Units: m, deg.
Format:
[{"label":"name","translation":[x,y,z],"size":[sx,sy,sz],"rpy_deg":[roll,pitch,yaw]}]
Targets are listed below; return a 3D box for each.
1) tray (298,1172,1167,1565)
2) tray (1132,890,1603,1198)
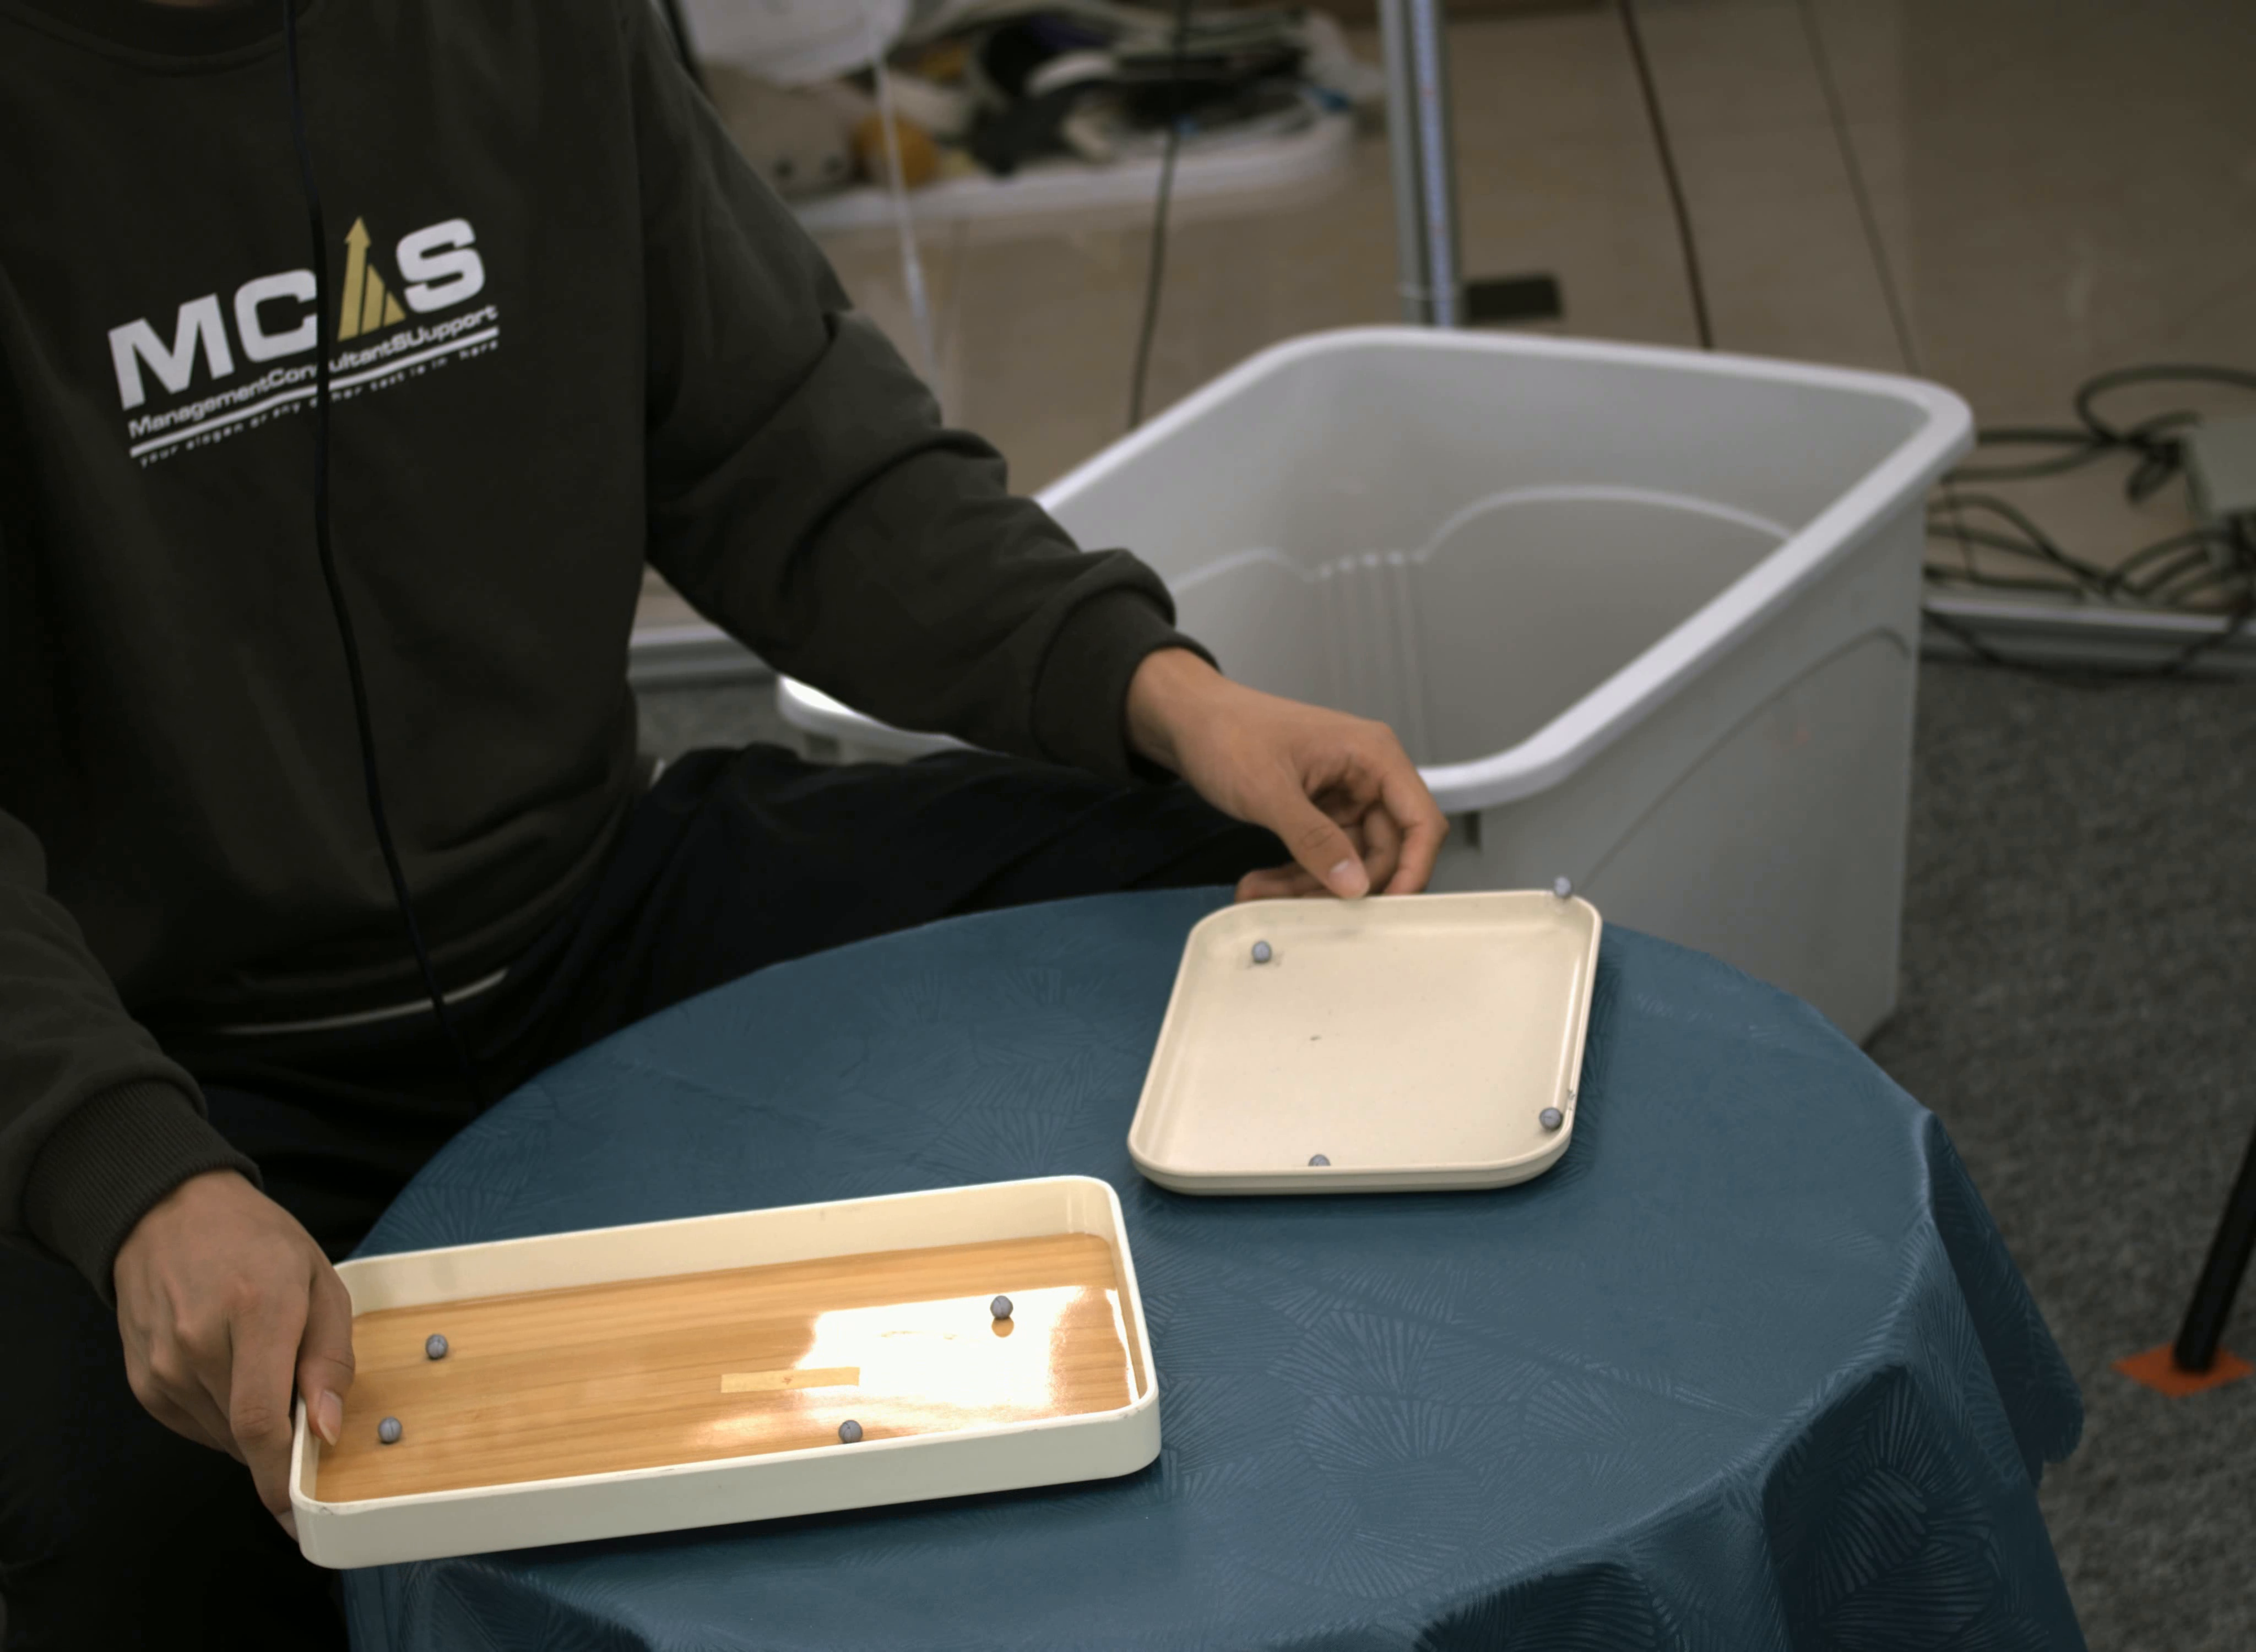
[{"label":"tray","translation":[-0.143,0.191,2.025],"size":[0.300,0.028,0.189],"rpy_deg":[-6,23,-3]},{"label":"tray","translation":[0.097,0.085,2.220],"size":[0.171,0.018,0.236],"rpy_deg":[-3,25,10]}]
